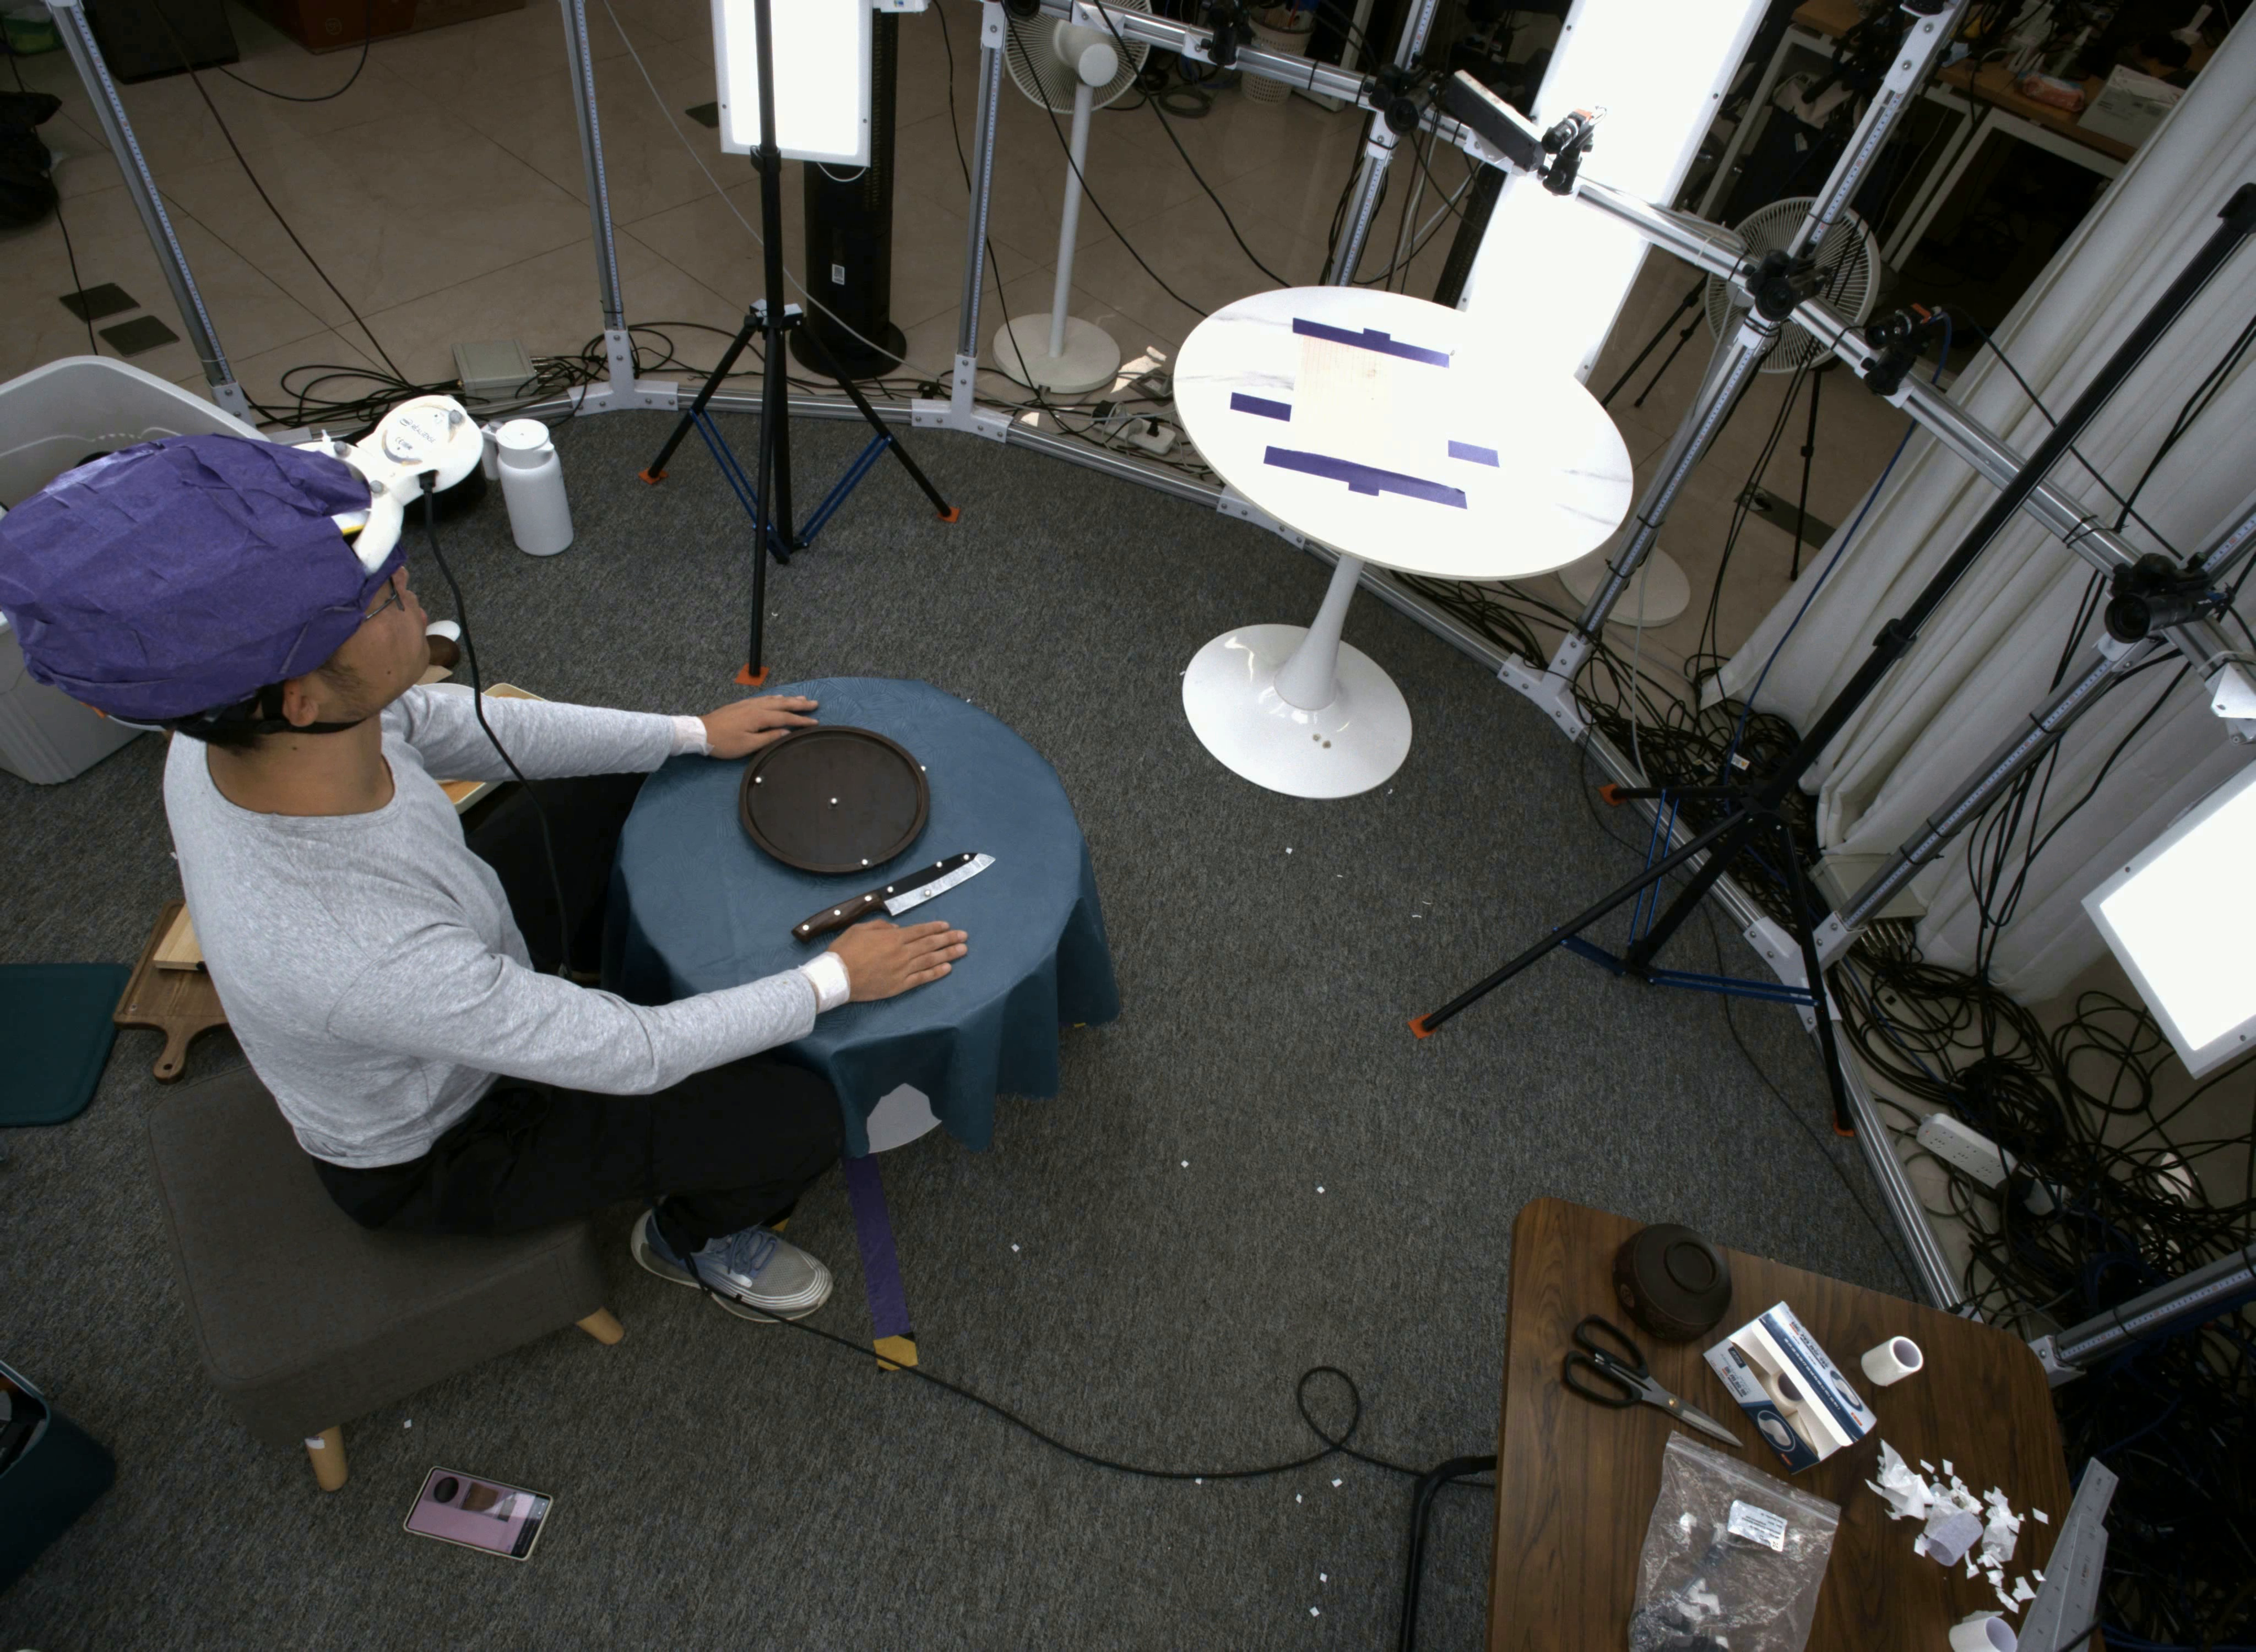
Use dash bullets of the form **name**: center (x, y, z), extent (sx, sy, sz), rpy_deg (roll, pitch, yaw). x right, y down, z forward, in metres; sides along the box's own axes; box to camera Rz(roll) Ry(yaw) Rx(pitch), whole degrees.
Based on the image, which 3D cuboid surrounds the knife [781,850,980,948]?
- **knife**: center (-0.315, 0.090, 1.687), extent (0.291, 0.020, 0.049), rpy_deg (-24, 68, -31)

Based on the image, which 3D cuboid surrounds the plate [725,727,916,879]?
- **plate**: center (-0.413, -0.033, 1.747), extent (0.254, 0.029, 0.250), rpy_deg (8, 55, -9)
